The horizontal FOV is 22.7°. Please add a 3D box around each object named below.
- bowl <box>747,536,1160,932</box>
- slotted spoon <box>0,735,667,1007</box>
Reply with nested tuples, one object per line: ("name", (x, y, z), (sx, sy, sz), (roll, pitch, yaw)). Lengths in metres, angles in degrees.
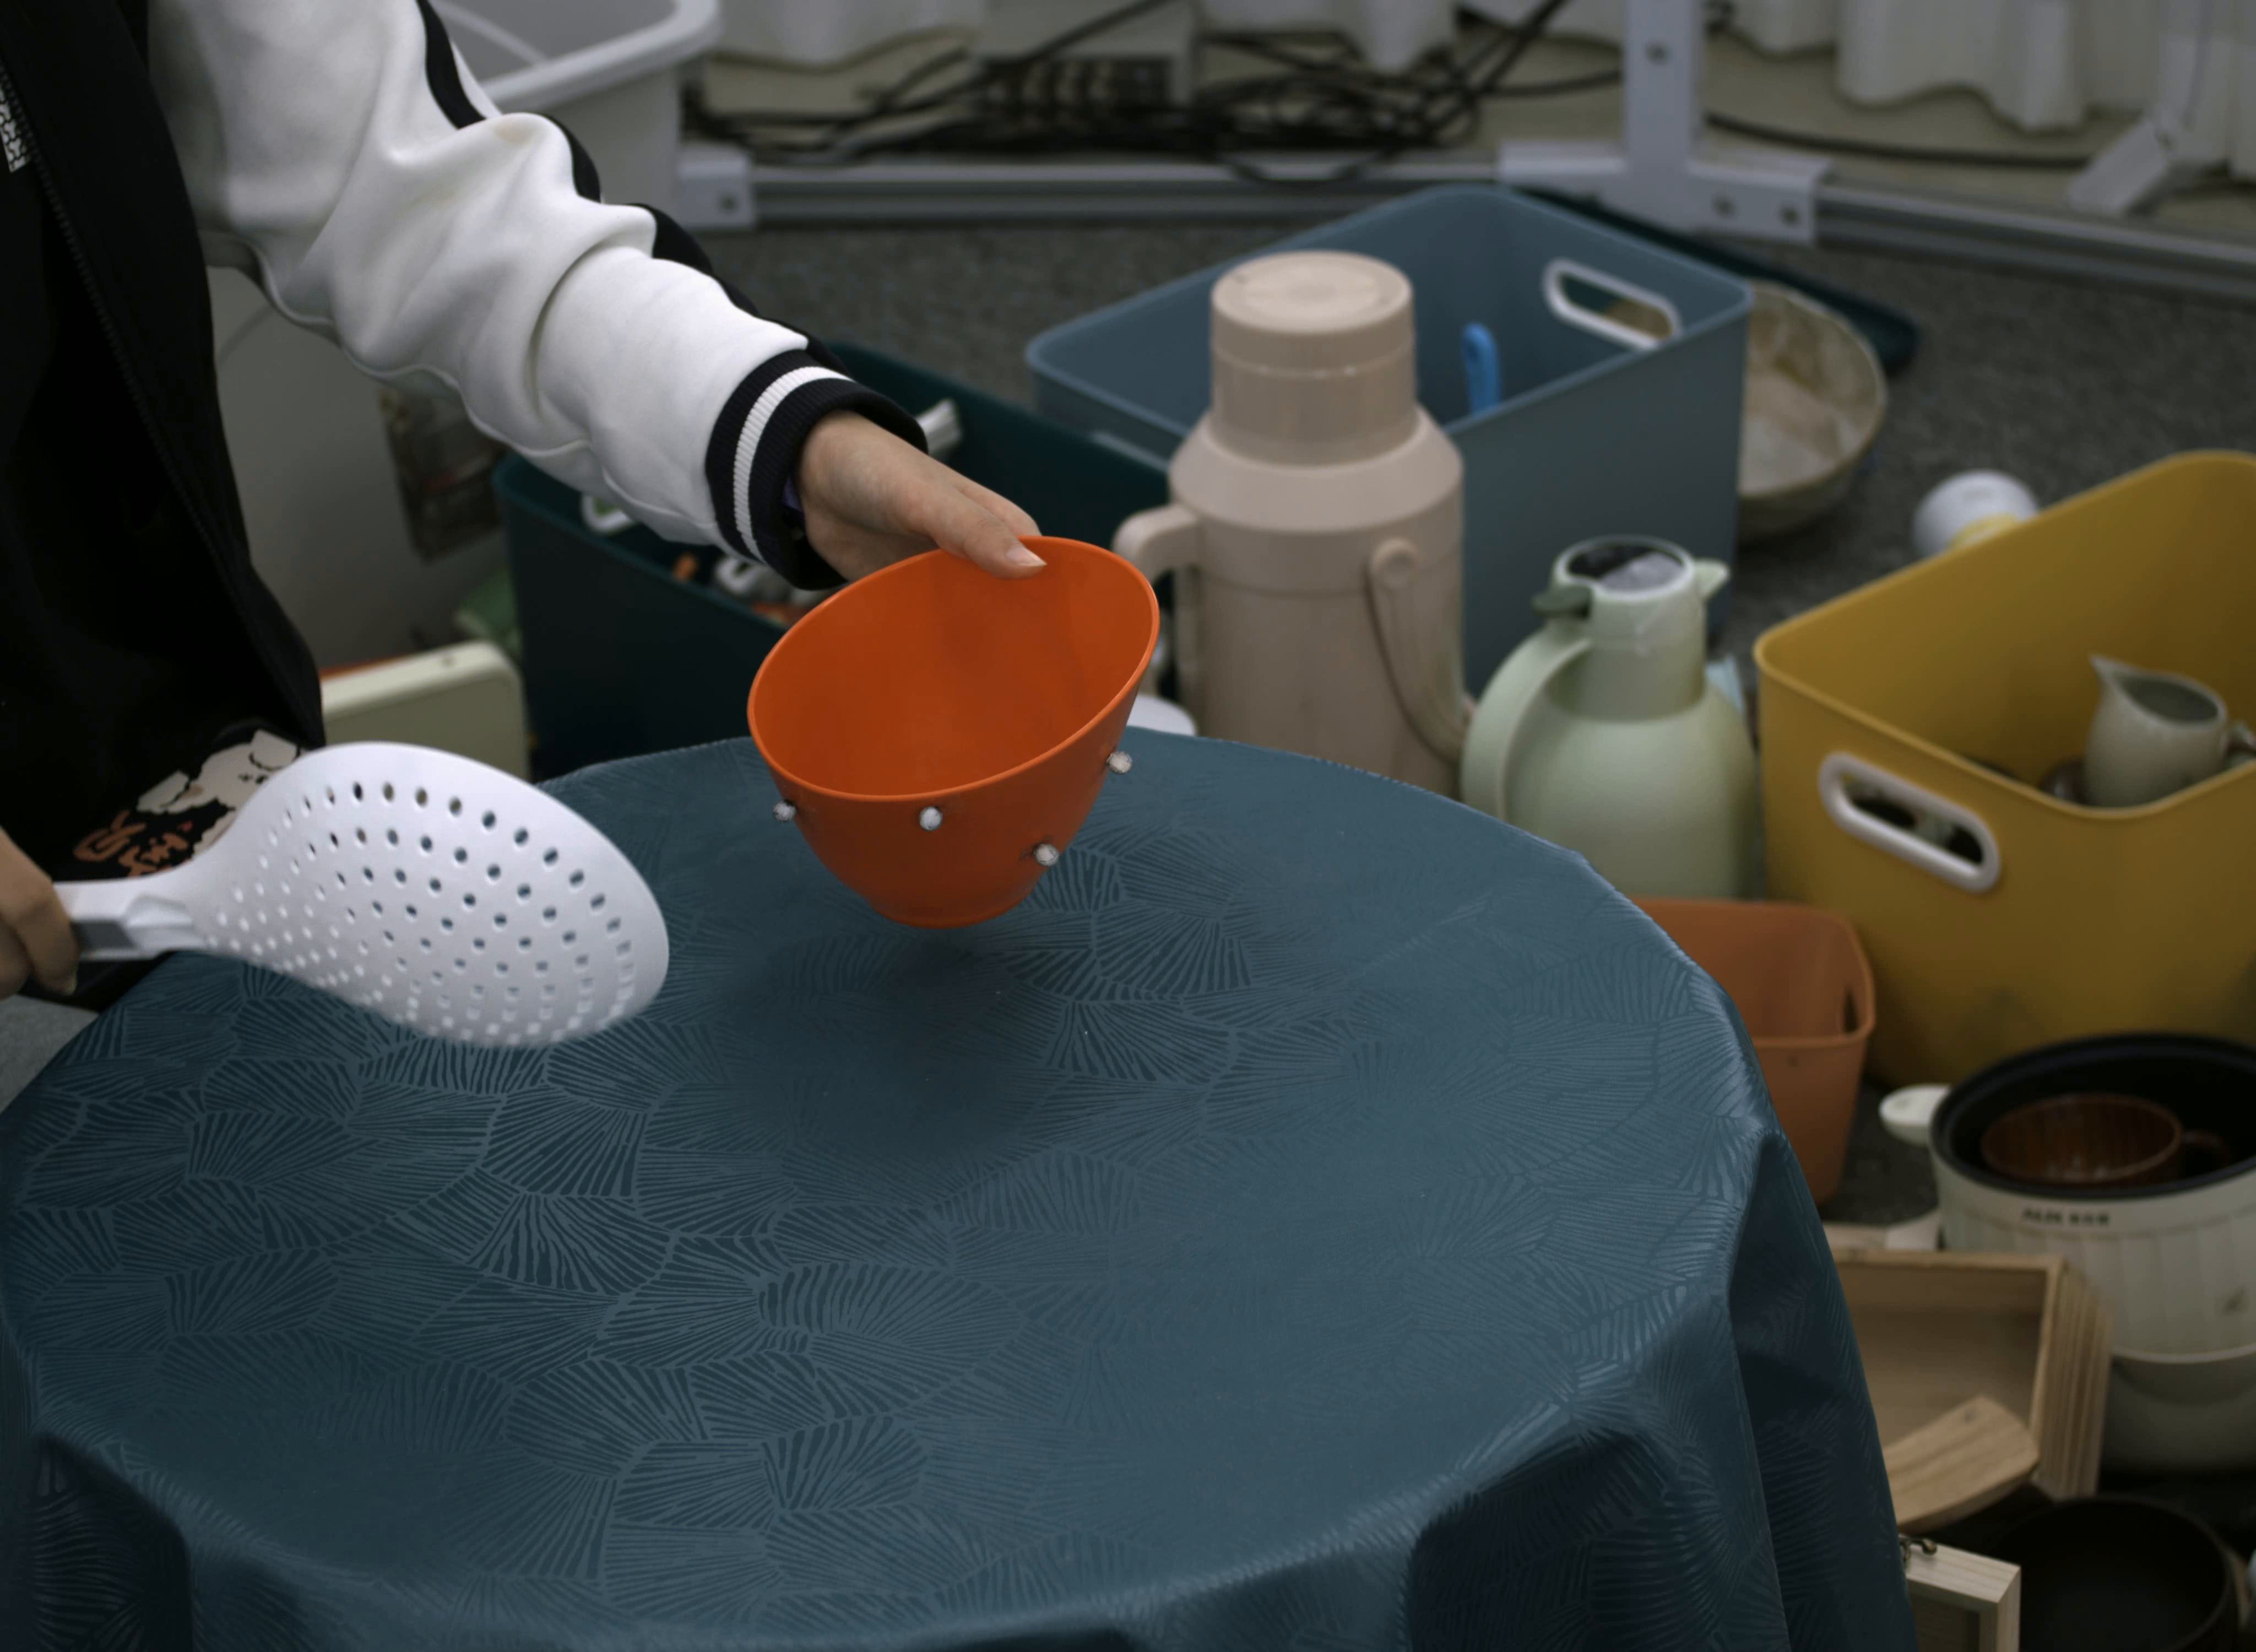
("bowl", (-0.057, -0.023, 1.971), (0.147, 0.103, 0.151), (-4, 38, 4))
("slotted spoon", (-0.301, 0.022, 1.794), (0.346, 0.135, 0.046), (1, 57, 34))
